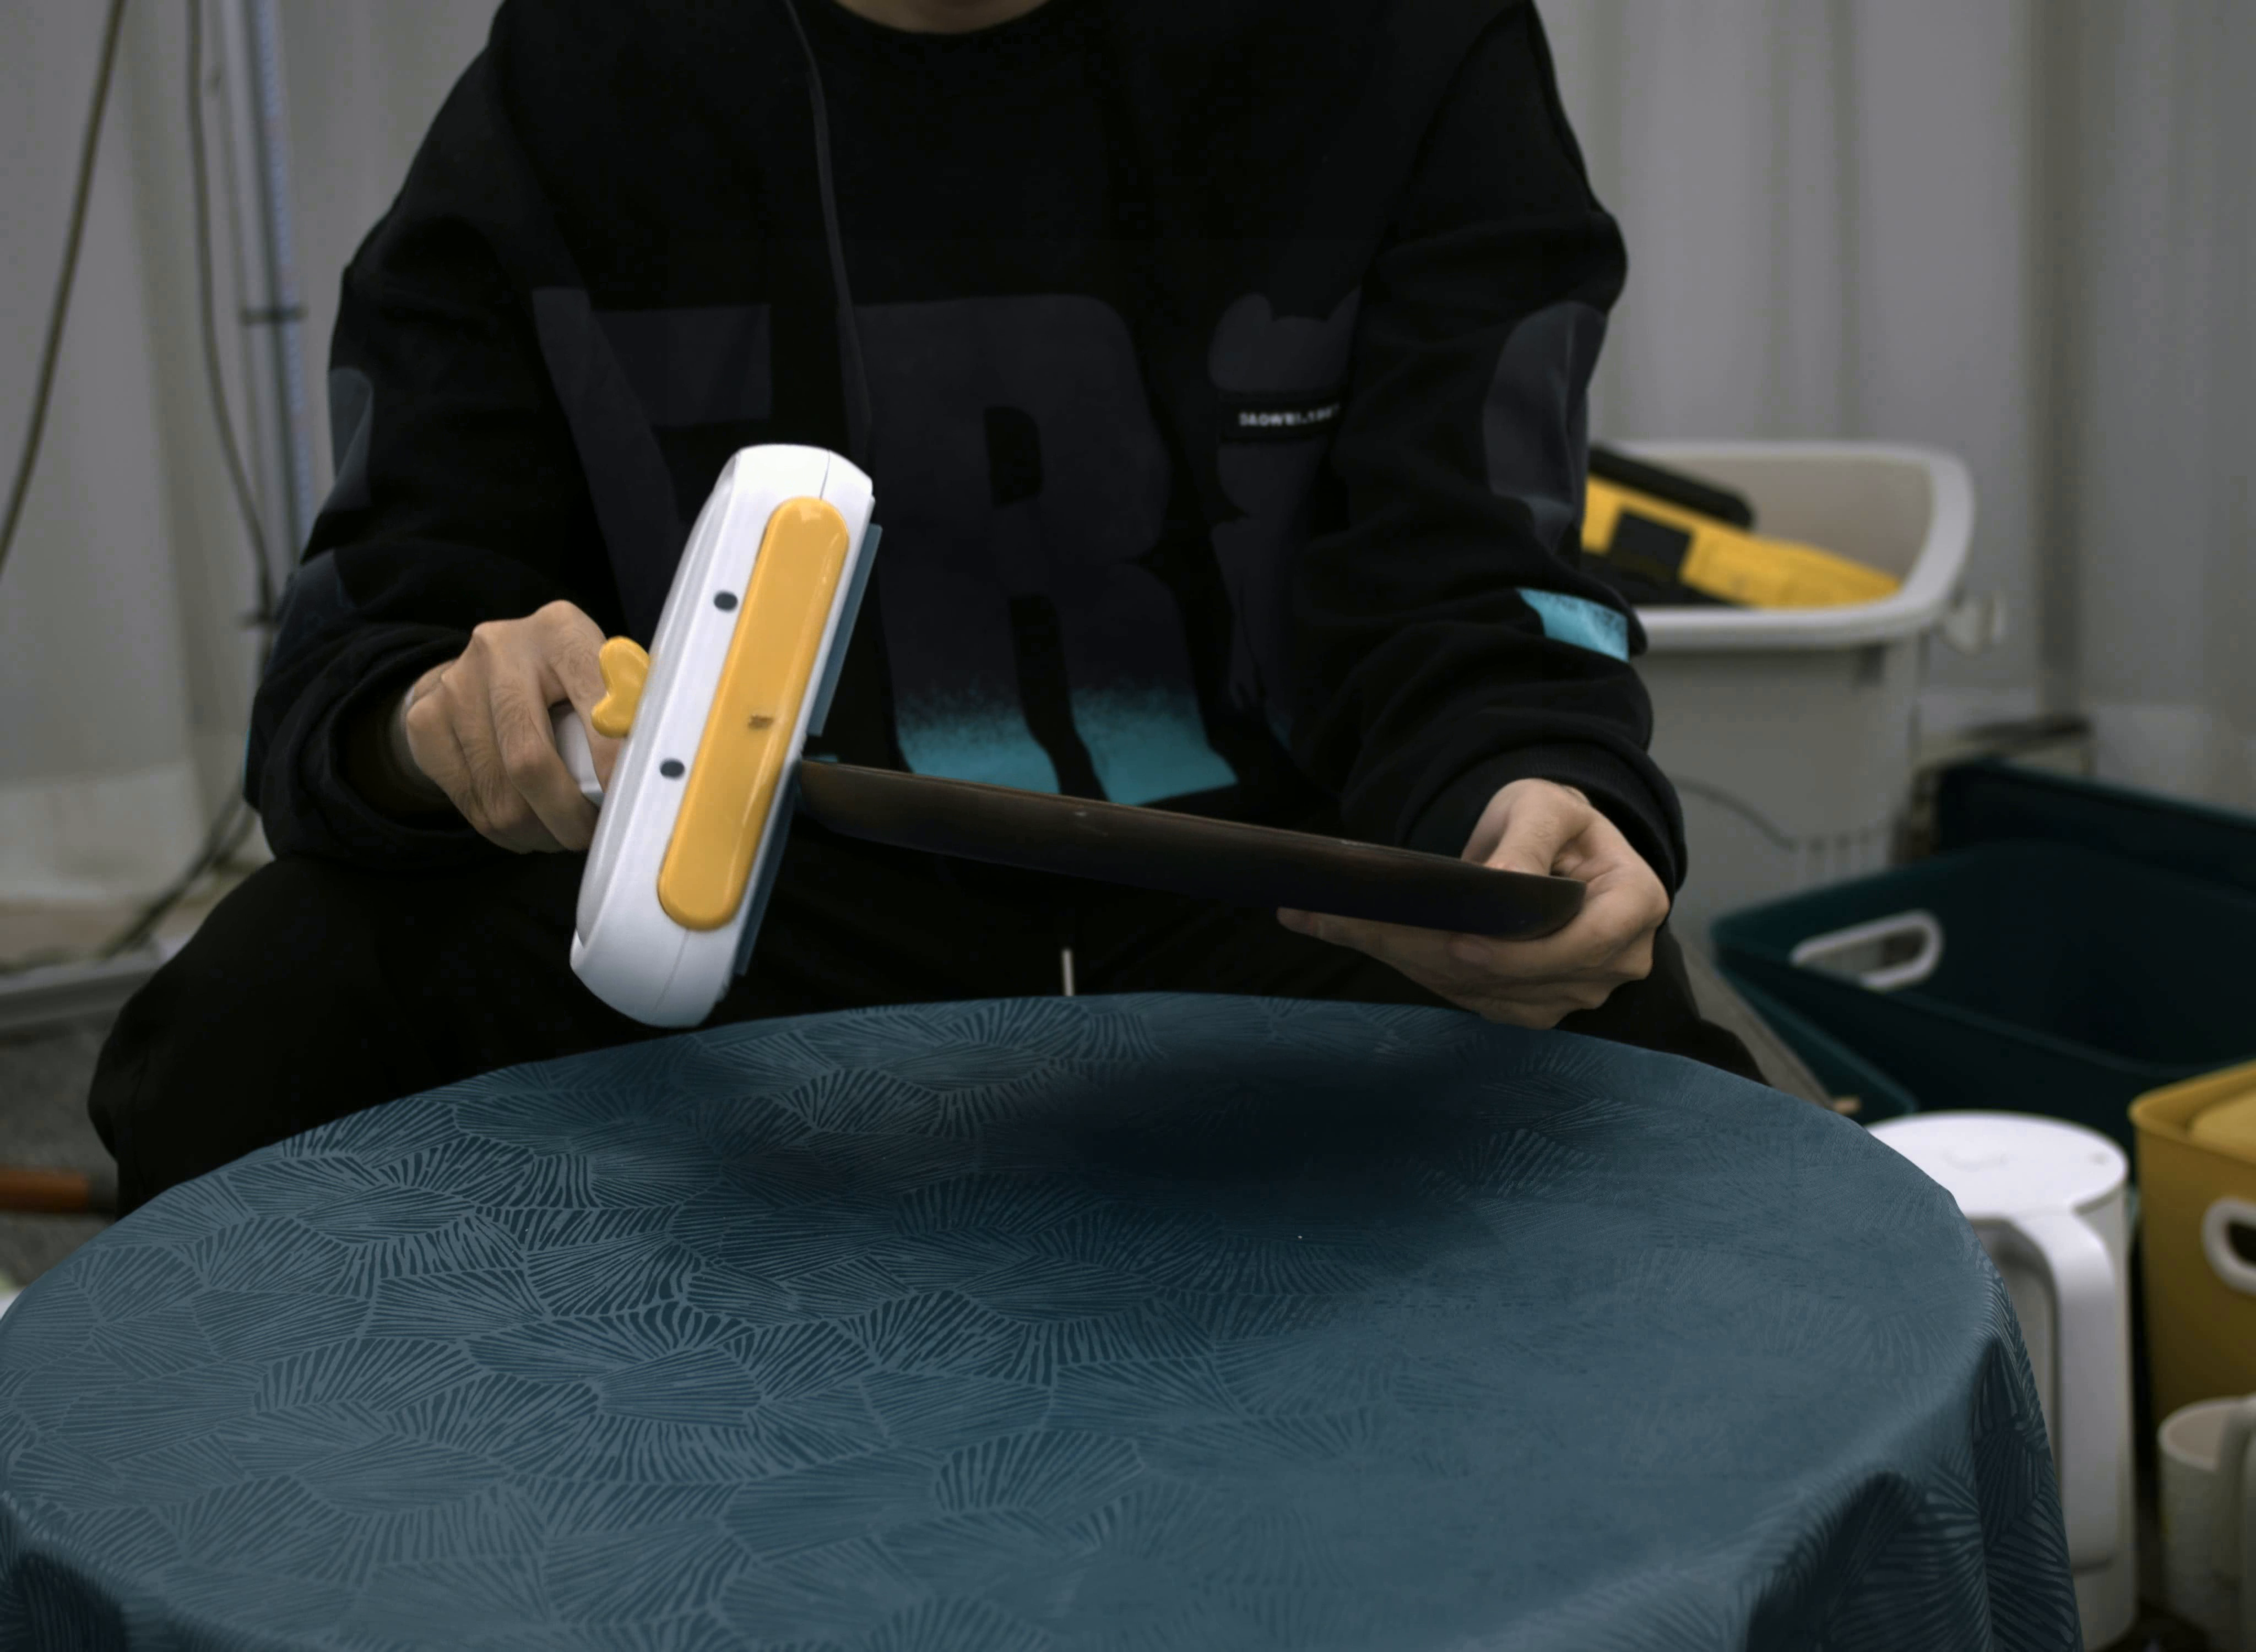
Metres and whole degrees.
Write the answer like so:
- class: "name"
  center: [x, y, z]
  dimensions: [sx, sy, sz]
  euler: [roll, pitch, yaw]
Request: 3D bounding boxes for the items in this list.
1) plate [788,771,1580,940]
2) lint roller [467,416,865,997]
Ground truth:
- class: "plate"
  center: [0.017, 0.008, 1.729]
  dimensions: [0.254, 0.029, 0.254]
  euler: [9, -1, 0]
- class: "lint roller"
  center: [-0.159, -0.028, 1.788]
  dimensions: [0.073, 0.195, 0.192]
  euler: [18, -21, -20]
